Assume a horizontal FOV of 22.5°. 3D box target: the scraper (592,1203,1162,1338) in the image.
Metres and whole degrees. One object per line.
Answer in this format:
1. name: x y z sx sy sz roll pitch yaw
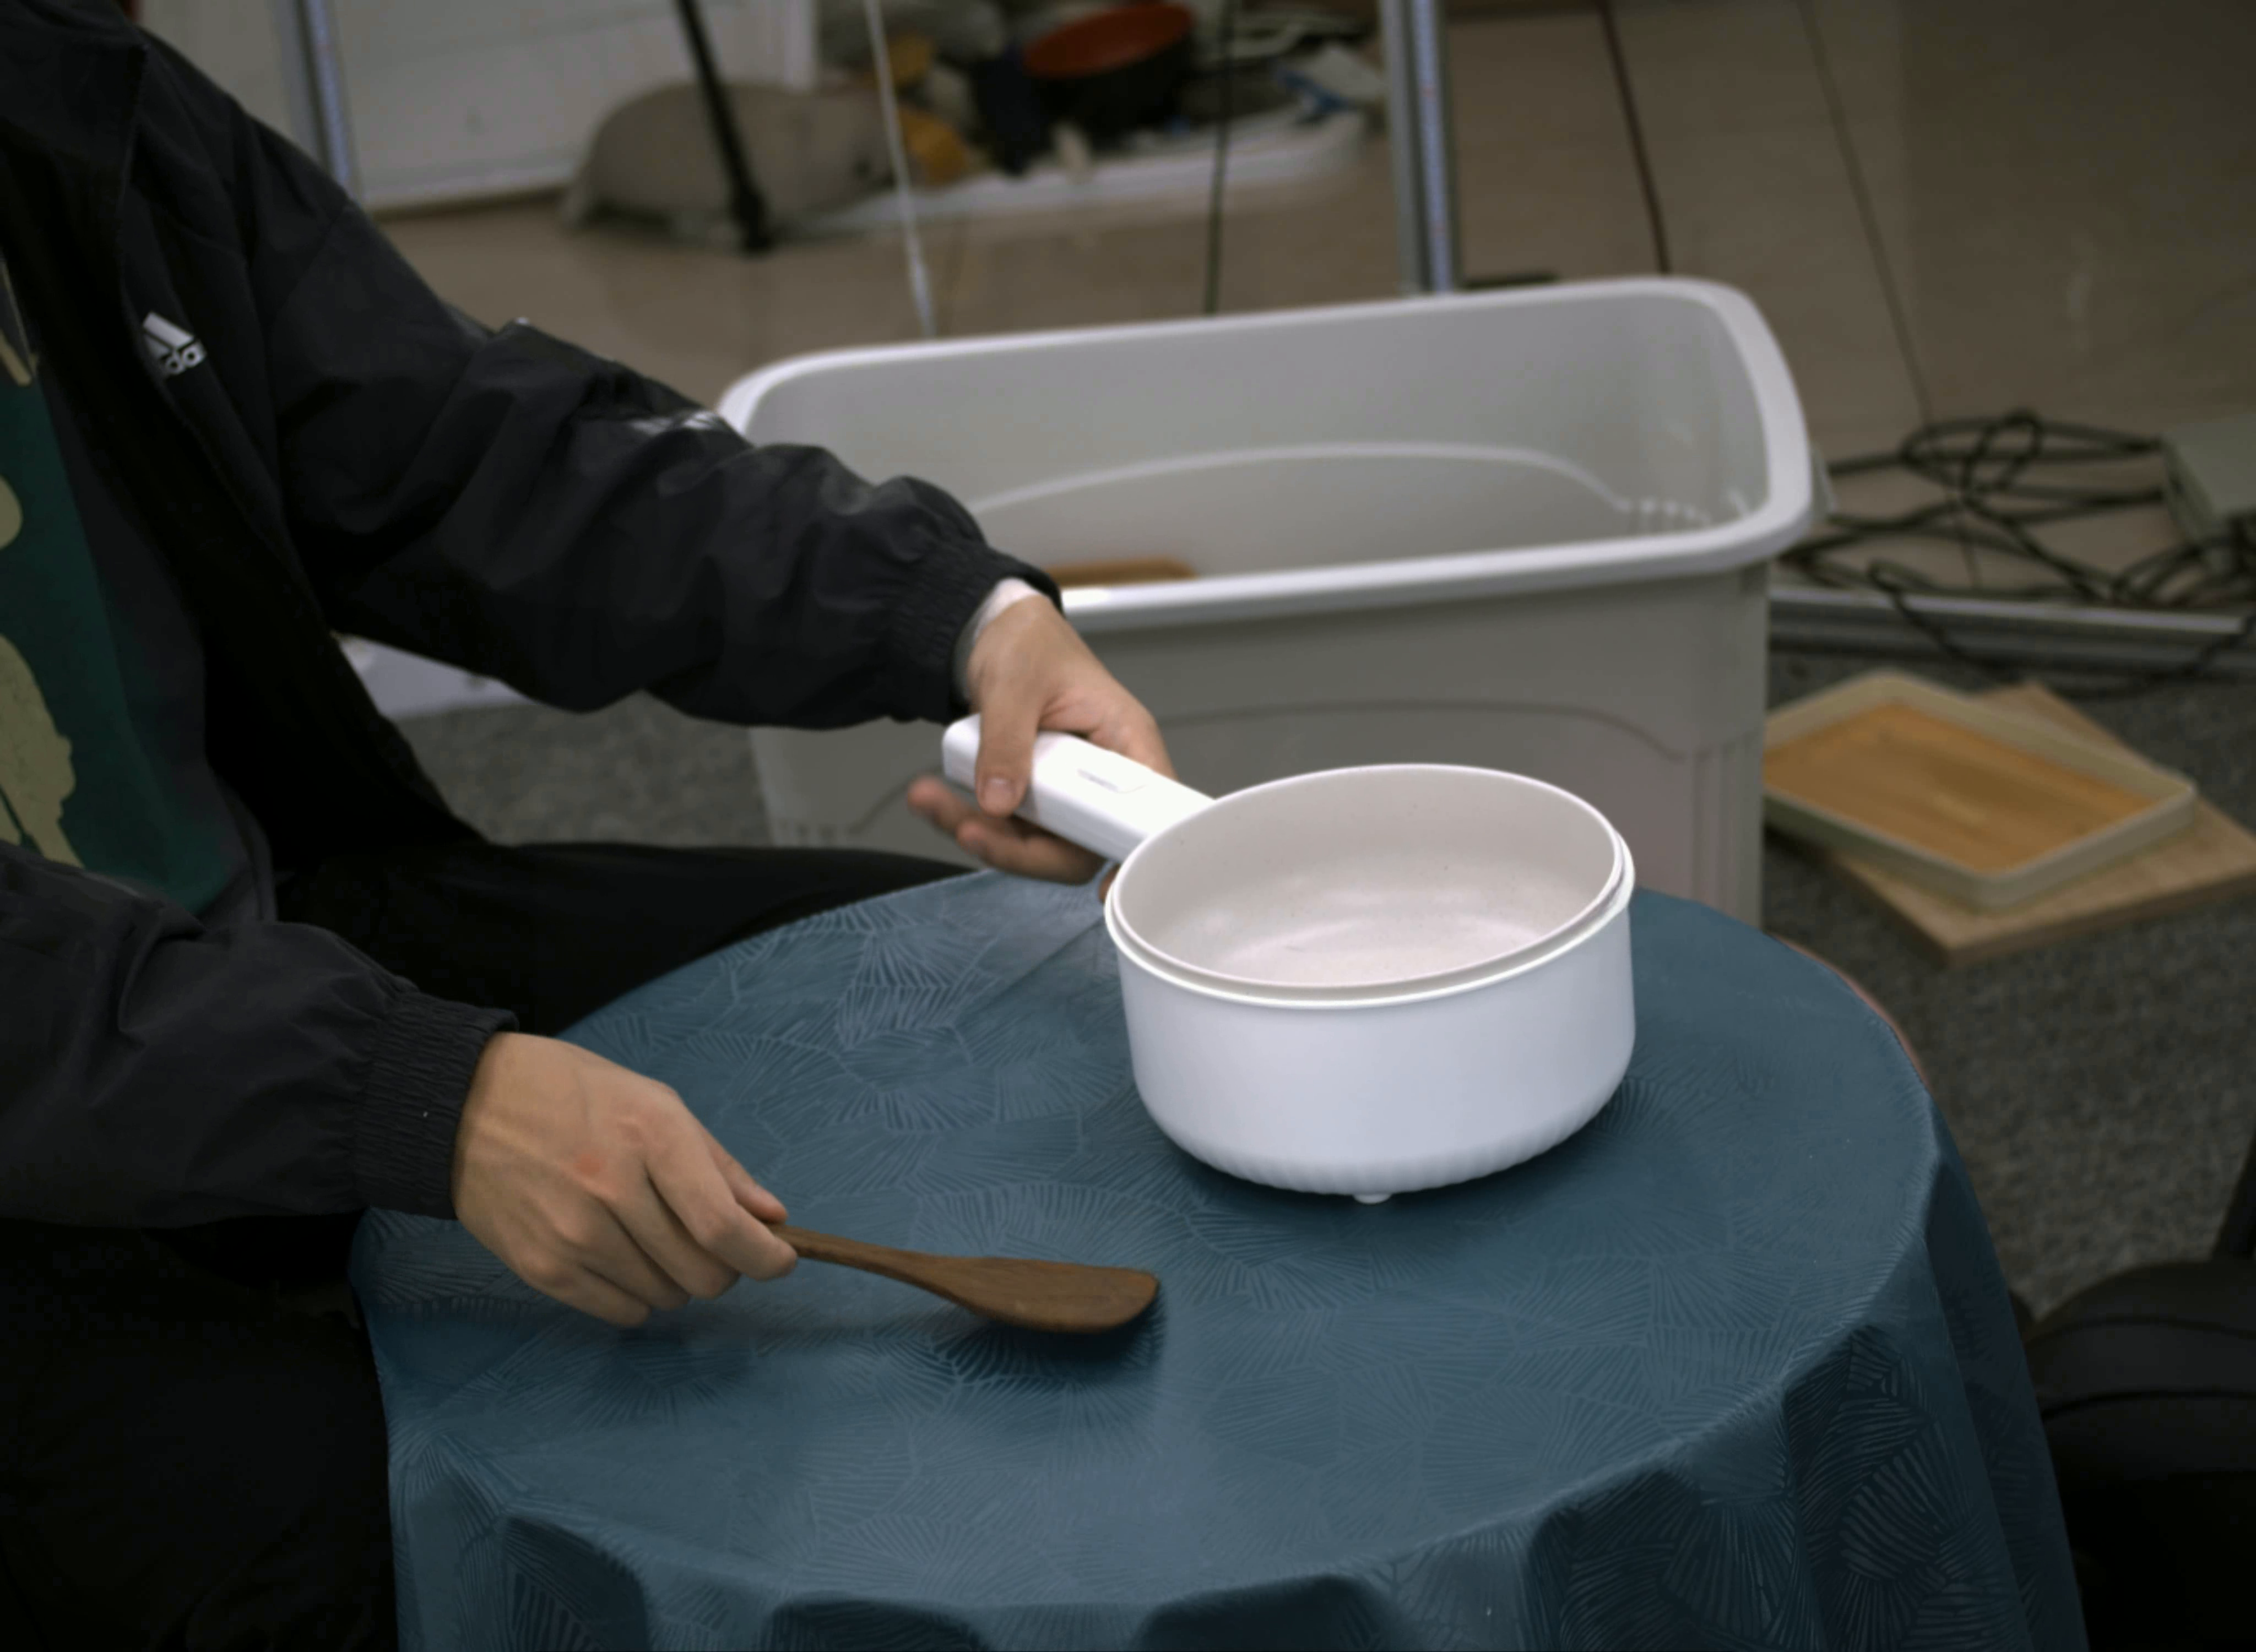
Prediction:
1. scraper: -0.093 0.160 2.069 0.210 0.011 0.075 9 14 11

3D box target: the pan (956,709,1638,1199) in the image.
1. pan: 0.050 0.043 2.225 0.200 0.103 0.351 -23 28 -31
